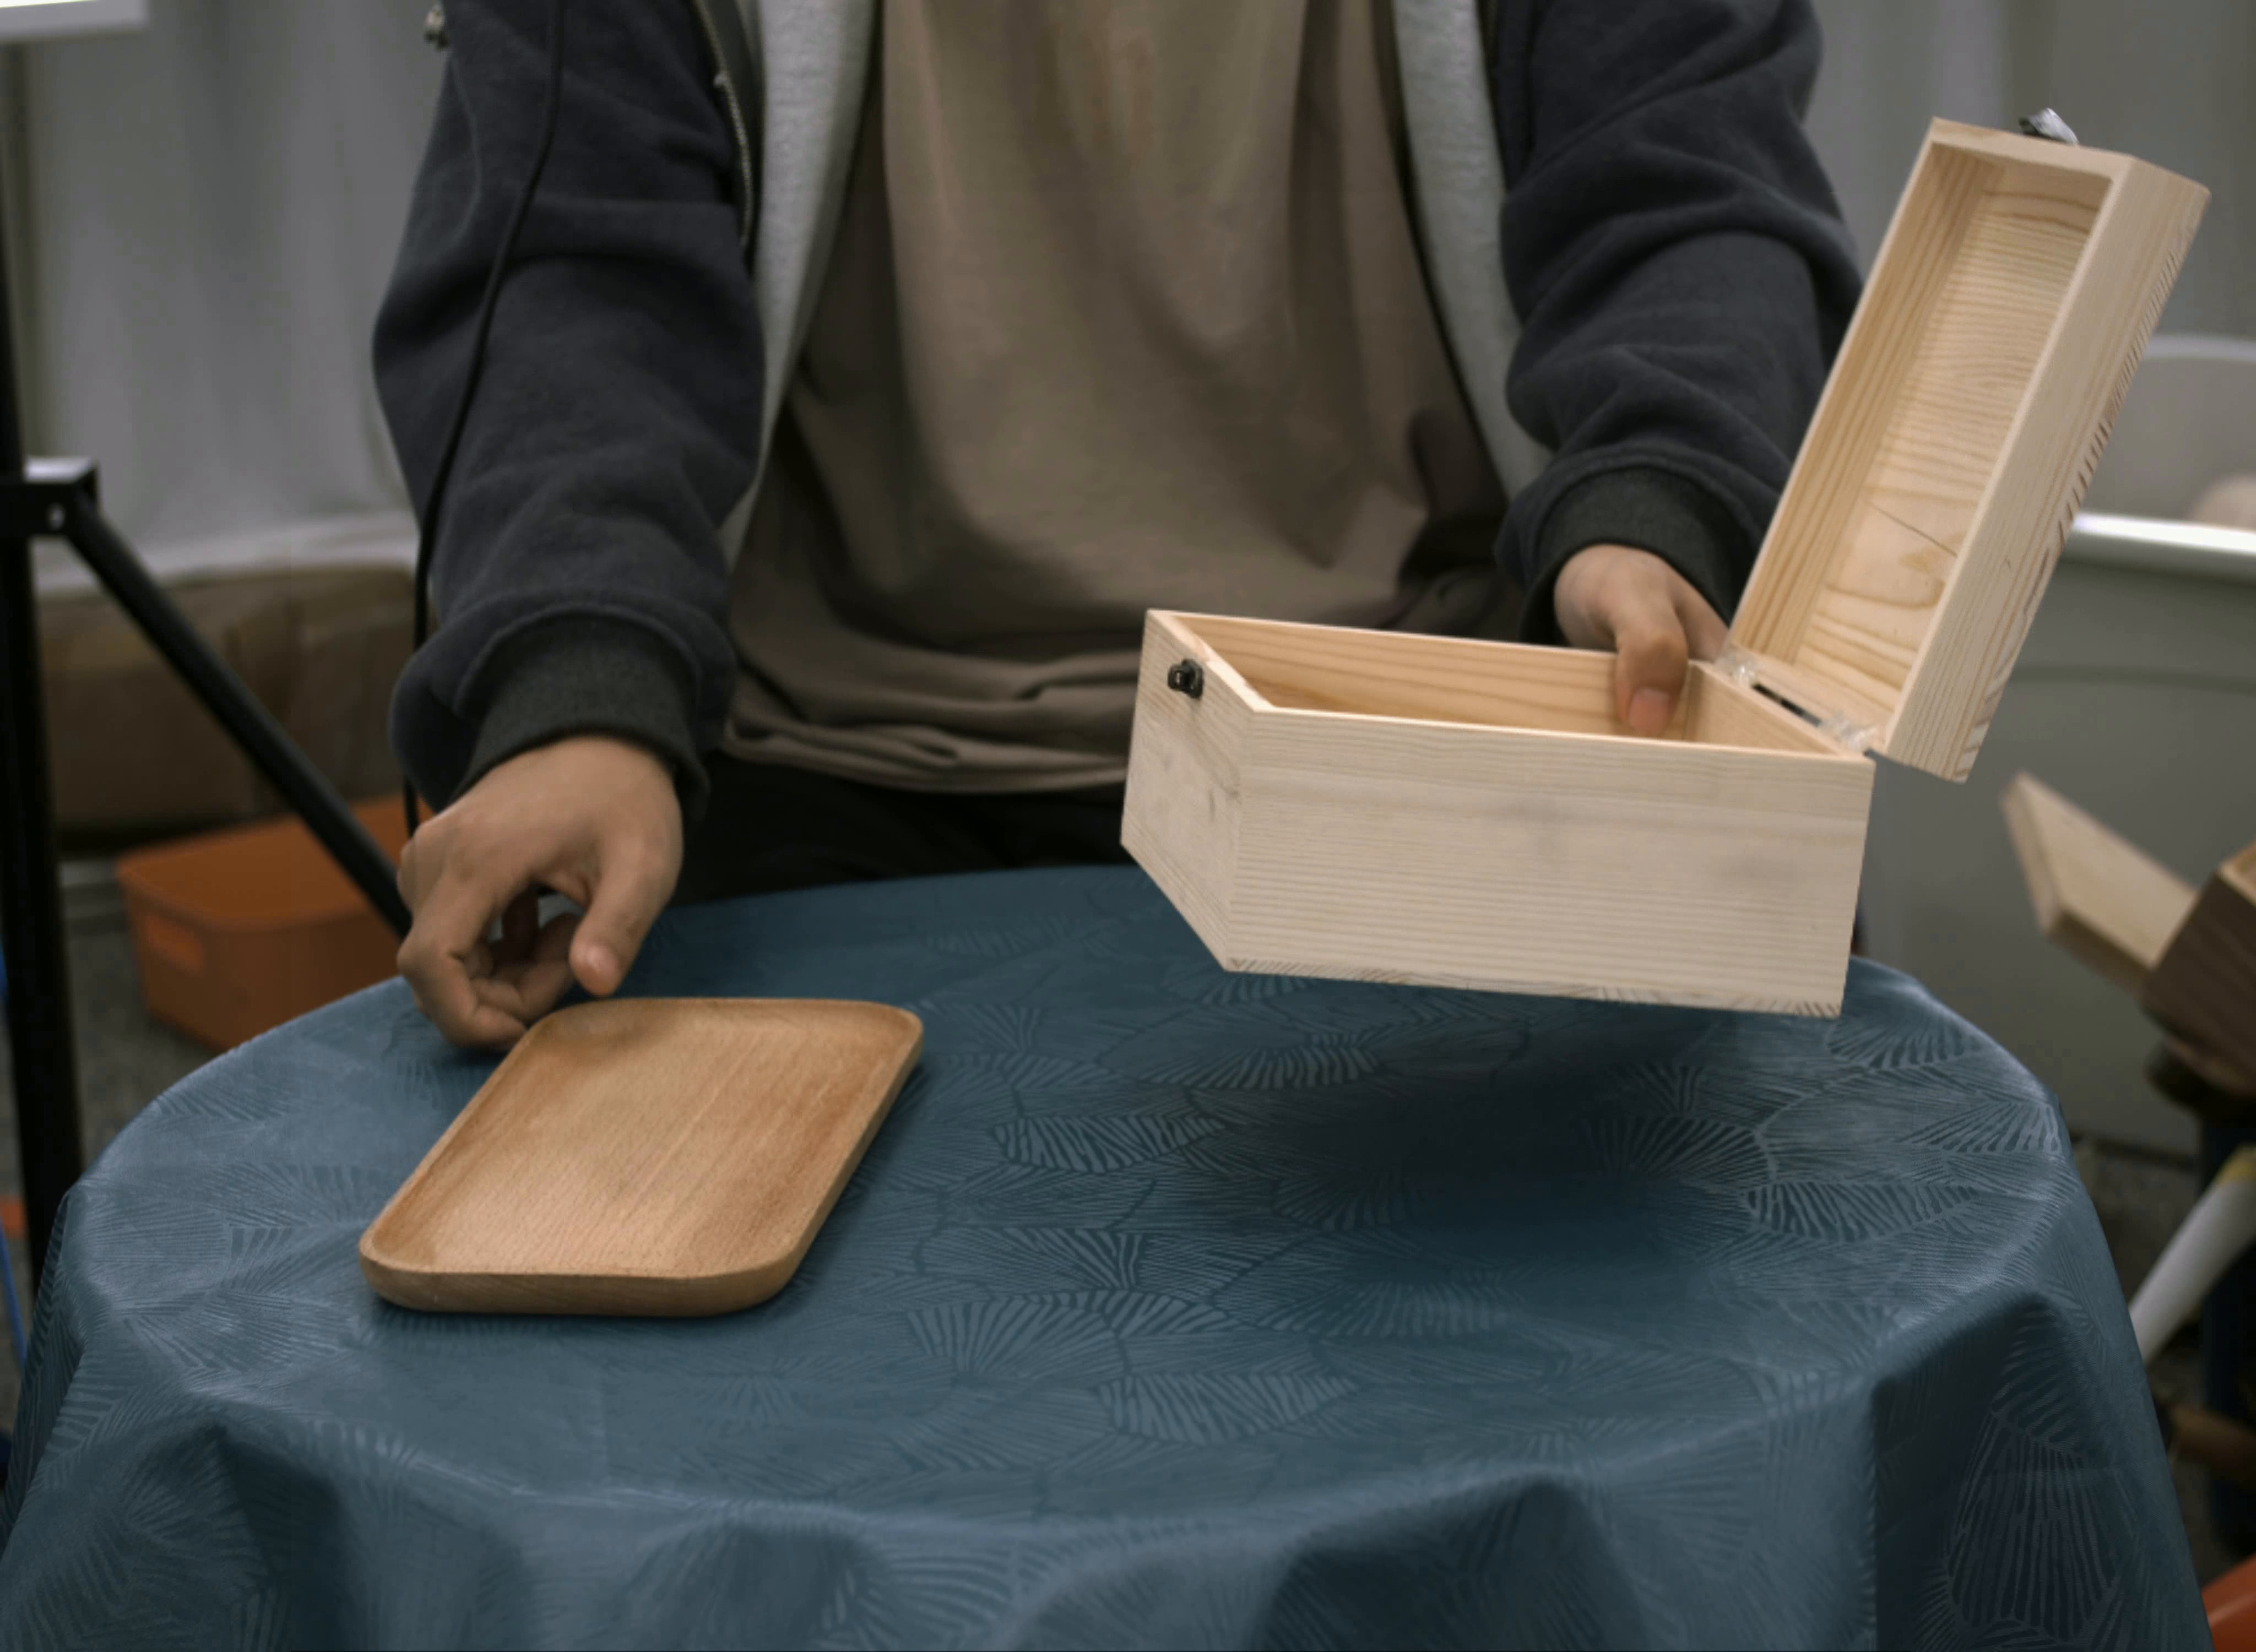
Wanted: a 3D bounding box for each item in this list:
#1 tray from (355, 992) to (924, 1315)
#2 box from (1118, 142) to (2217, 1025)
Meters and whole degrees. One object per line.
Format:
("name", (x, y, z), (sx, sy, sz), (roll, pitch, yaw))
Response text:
("tray", (-0.141, 0.095, 1.596), (0.131, 0.023, 0.250), (3, 16, 9))
("box", (0.149, -0.084, 1.559), (0.262, 0.254, 0.183), (7, 7, -10))
